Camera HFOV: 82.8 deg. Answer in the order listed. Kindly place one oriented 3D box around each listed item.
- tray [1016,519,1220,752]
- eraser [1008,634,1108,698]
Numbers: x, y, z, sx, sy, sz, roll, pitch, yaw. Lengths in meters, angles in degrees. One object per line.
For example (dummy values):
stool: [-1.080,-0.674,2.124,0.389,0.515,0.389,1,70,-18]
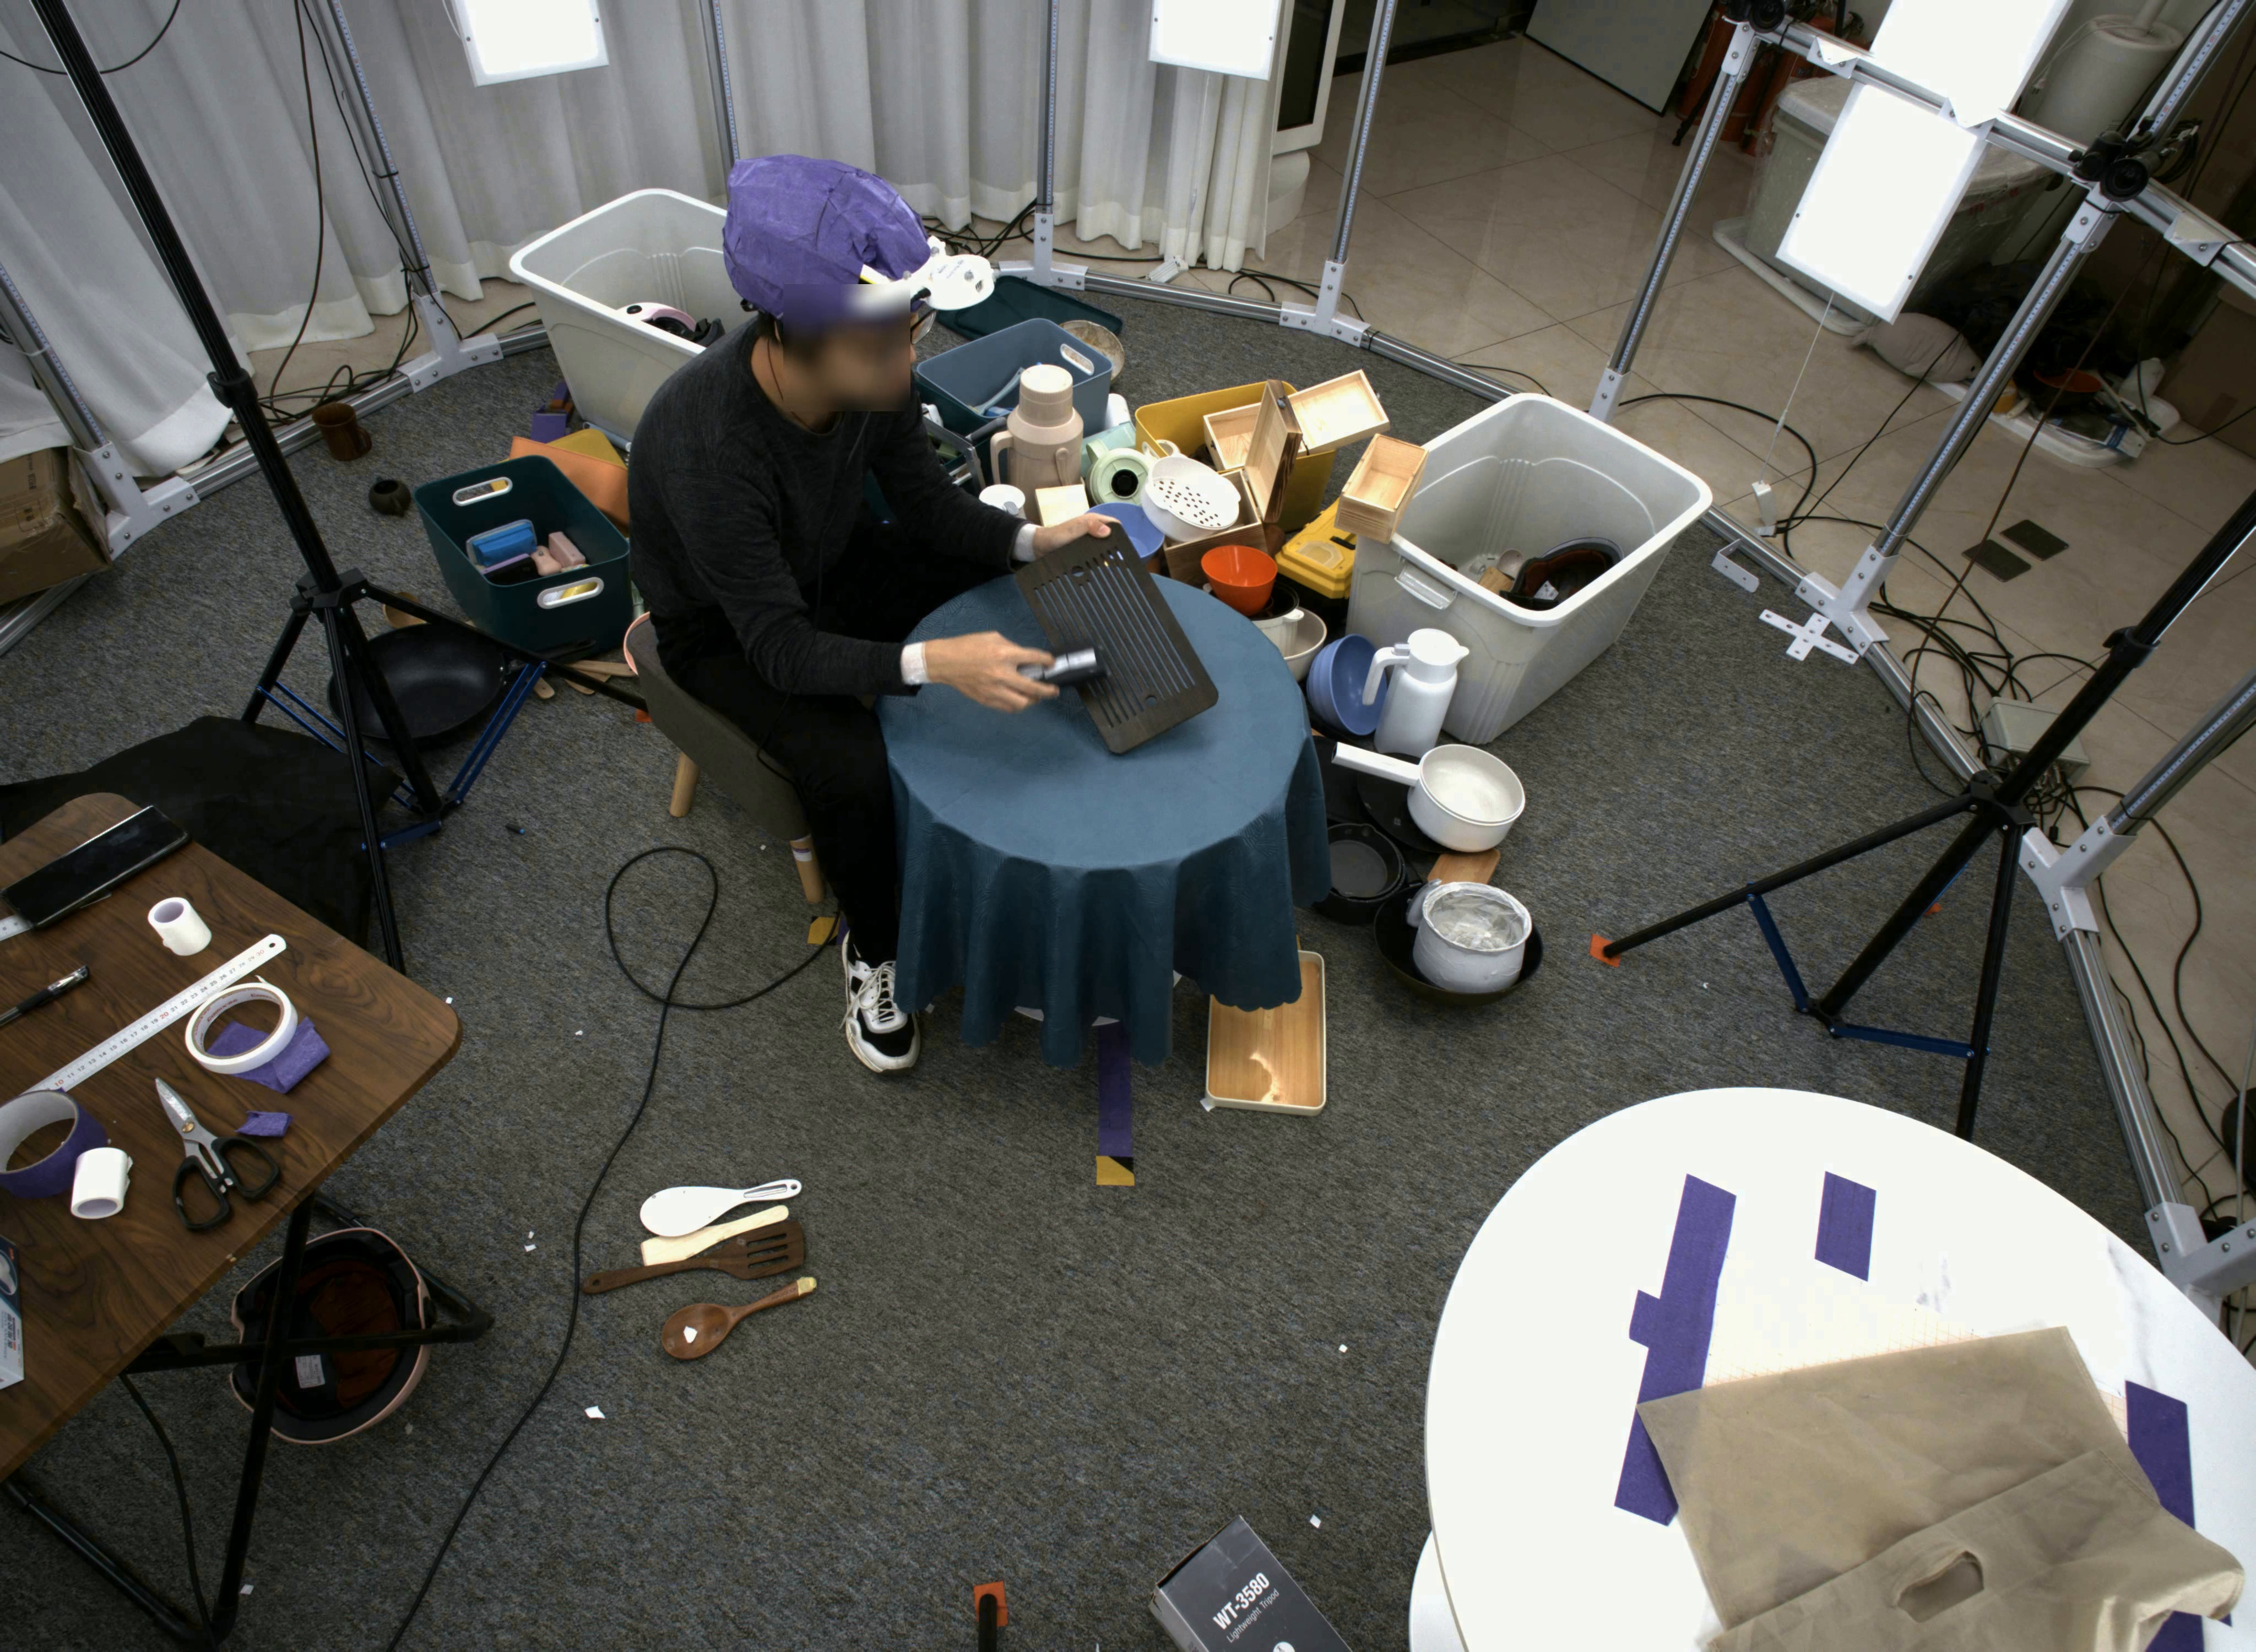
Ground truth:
tray: [-0.015,-0.266,1.789,0.170,0.018,0.309,-28,78,-3]
eraser: [-0.094,-0.216,1.720,0.125,0.030,0.054,-18,74,-10]
